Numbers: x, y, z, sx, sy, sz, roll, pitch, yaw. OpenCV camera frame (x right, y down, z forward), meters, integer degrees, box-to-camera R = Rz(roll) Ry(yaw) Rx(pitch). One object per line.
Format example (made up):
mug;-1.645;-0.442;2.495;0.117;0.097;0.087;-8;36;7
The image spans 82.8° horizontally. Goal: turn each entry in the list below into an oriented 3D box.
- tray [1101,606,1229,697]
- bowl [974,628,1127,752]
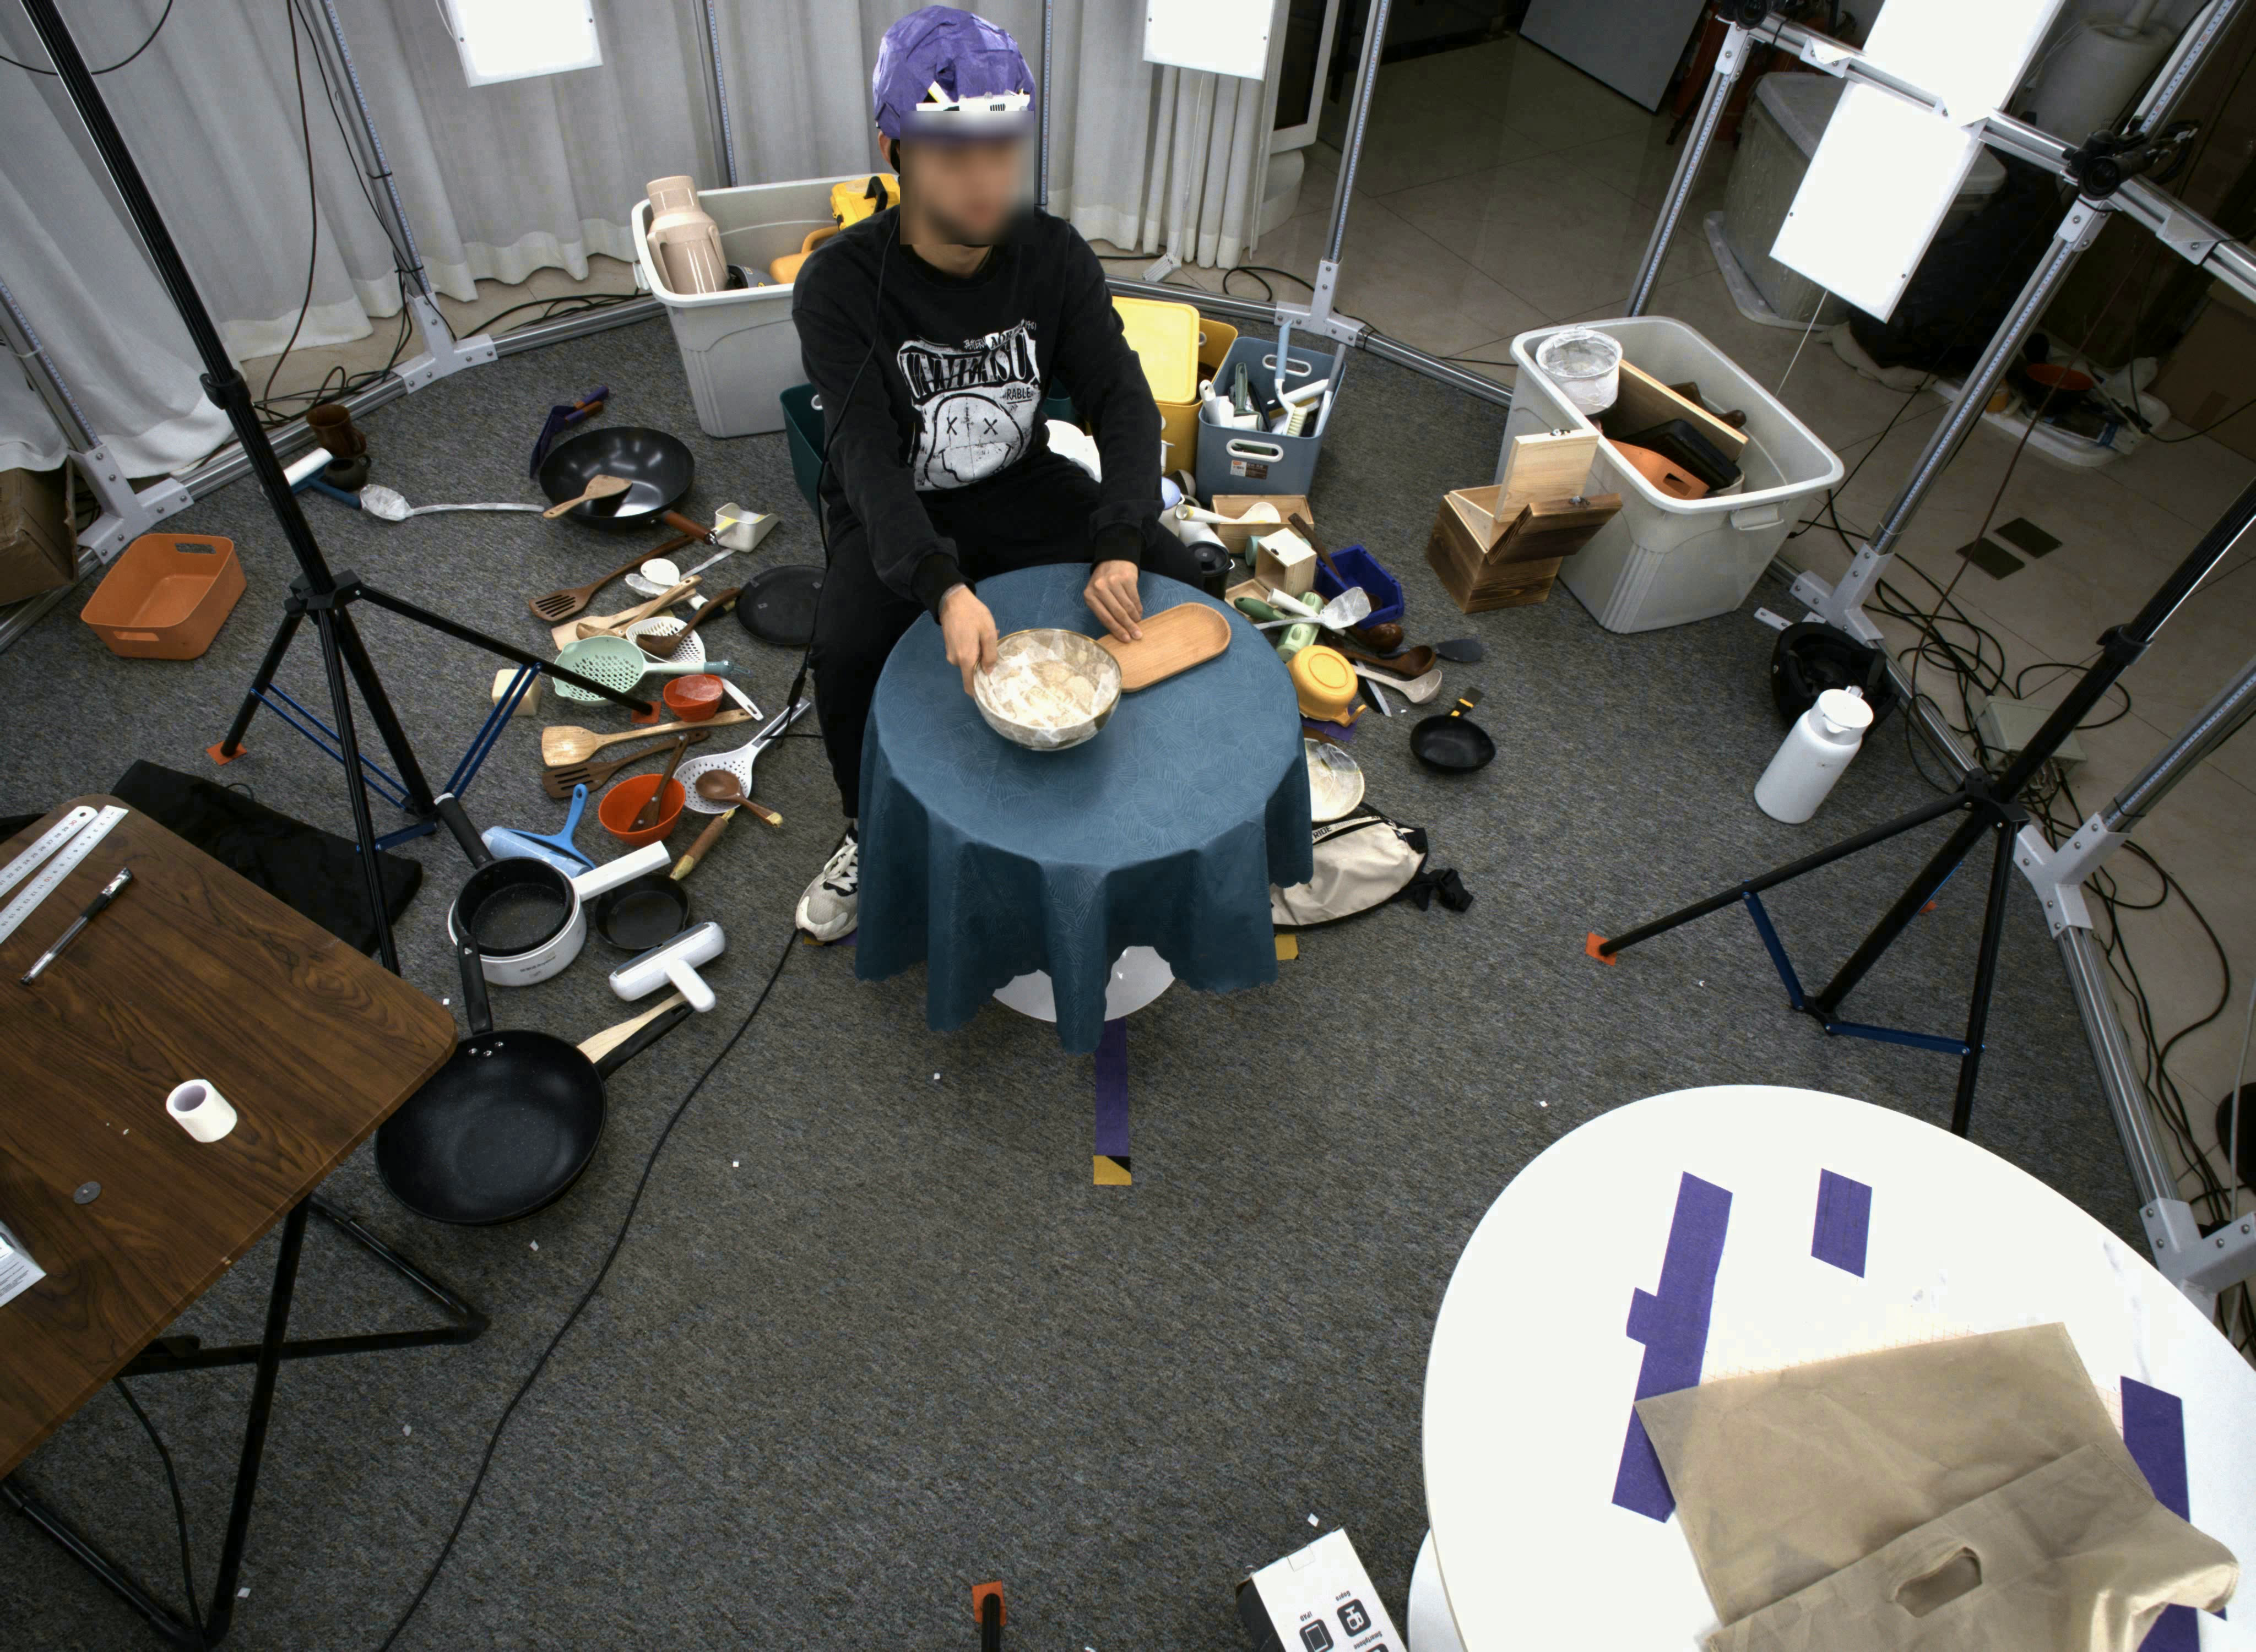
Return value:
tray;0.047;-0.258;1.893;0.232;0.020;0.103;-28;64;-23
bowl;-0.105;-0.172;1.753;0.214;0.092;0.220;1;46;-2
